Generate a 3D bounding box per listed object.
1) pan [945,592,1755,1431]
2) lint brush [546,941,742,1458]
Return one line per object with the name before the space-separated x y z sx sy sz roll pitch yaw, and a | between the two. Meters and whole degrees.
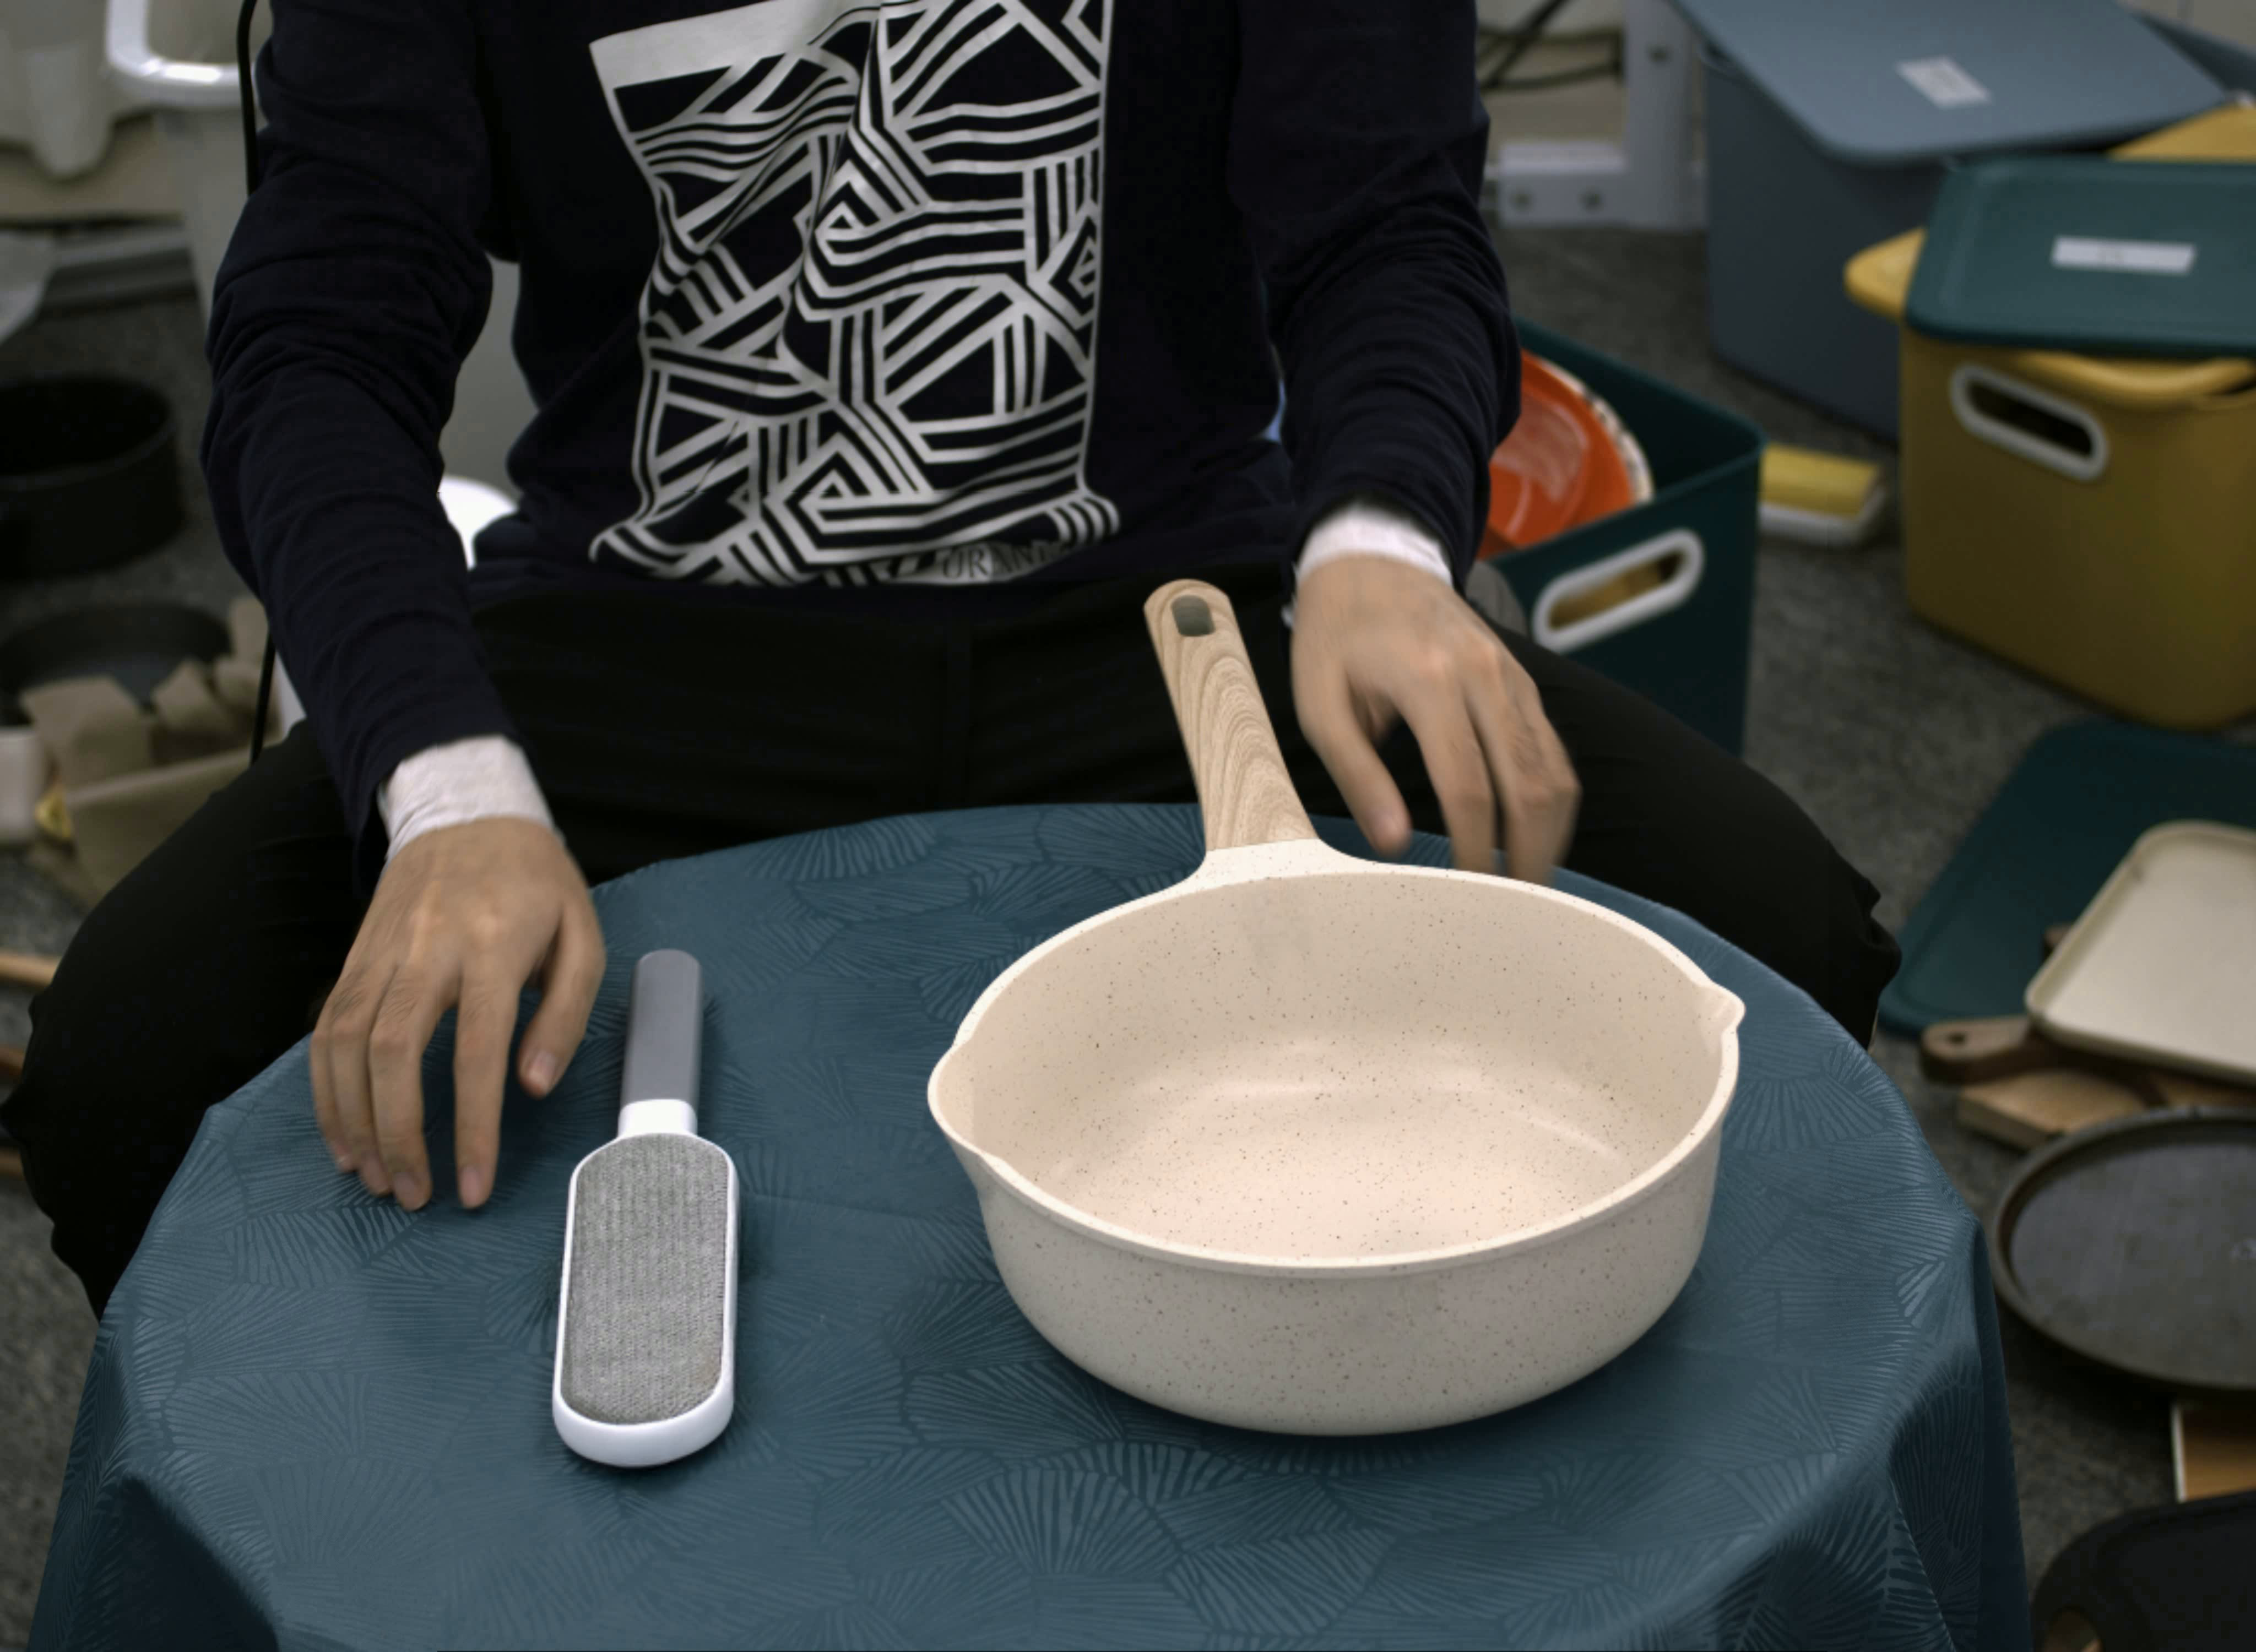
pan | 0.059 0.057 1.875 0.263 0.101 0.440 -9 28 -6
lint brush | -0.156 0.118 1.853 0.060 0.021 0.313 -8 27 1
